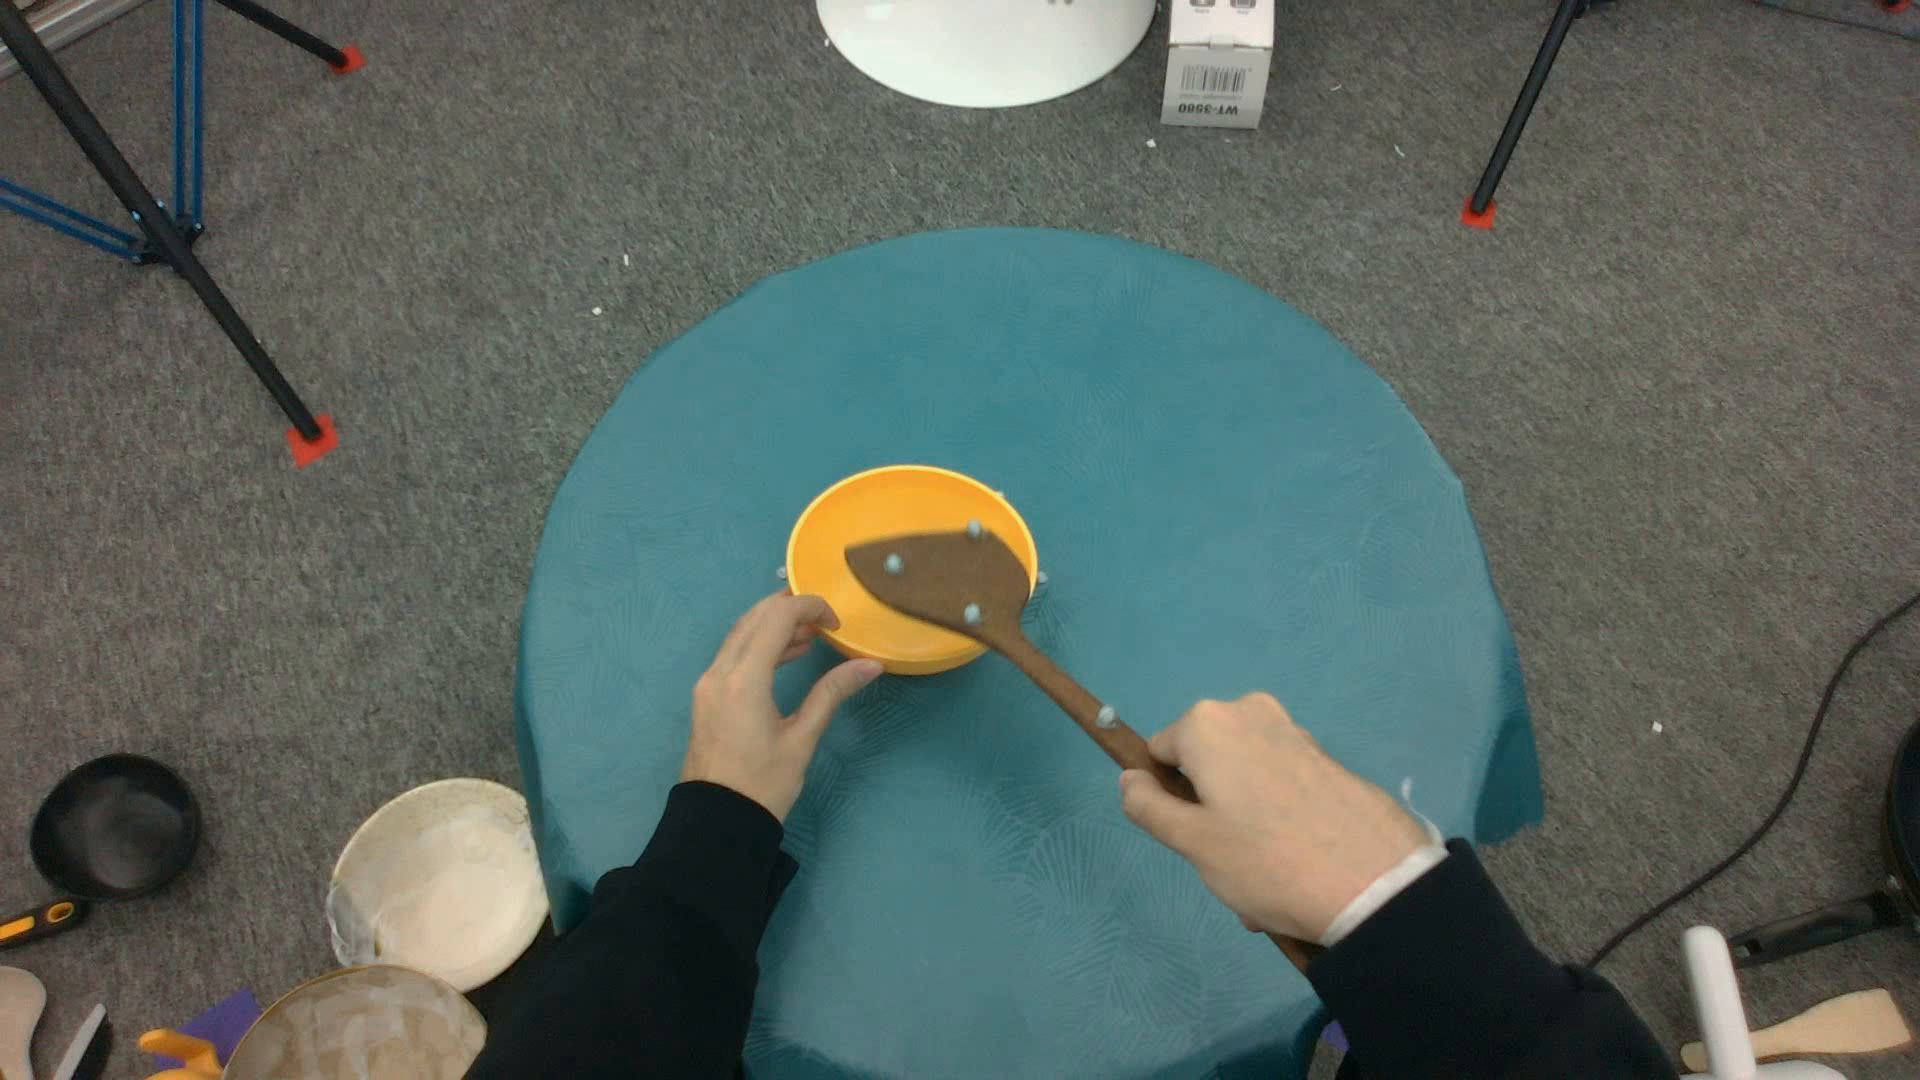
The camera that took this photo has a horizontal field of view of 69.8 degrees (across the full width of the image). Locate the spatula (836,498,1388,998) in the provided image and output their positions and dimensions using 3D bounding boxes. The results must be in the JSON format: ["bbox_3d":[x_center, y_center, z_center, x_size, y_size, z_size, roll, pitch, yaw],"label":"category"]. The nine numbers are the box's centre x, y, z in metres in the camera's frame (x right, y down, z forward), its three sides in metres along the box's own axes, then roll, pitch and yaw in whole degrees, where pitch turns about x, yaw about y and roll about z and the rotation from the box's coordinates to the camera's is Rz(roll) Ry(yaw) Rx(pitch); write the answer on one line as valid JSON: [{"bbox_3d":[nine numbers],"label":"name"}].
[{"bbox_3d":[0.055,0.066,0.615,0.096,0.016,0.386,-6,29,-28],"label":"spatula"}]

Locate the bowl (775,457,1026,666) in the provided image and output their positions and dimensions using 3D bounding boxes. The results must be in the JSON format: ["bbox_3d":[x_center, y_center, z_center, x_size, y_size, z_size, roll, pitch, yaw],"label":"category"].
[{"bbox_3d":[-0.035,0.023,0.815,0.145,0.060,0.146,1,52,-1],"label":"bowl"}]
